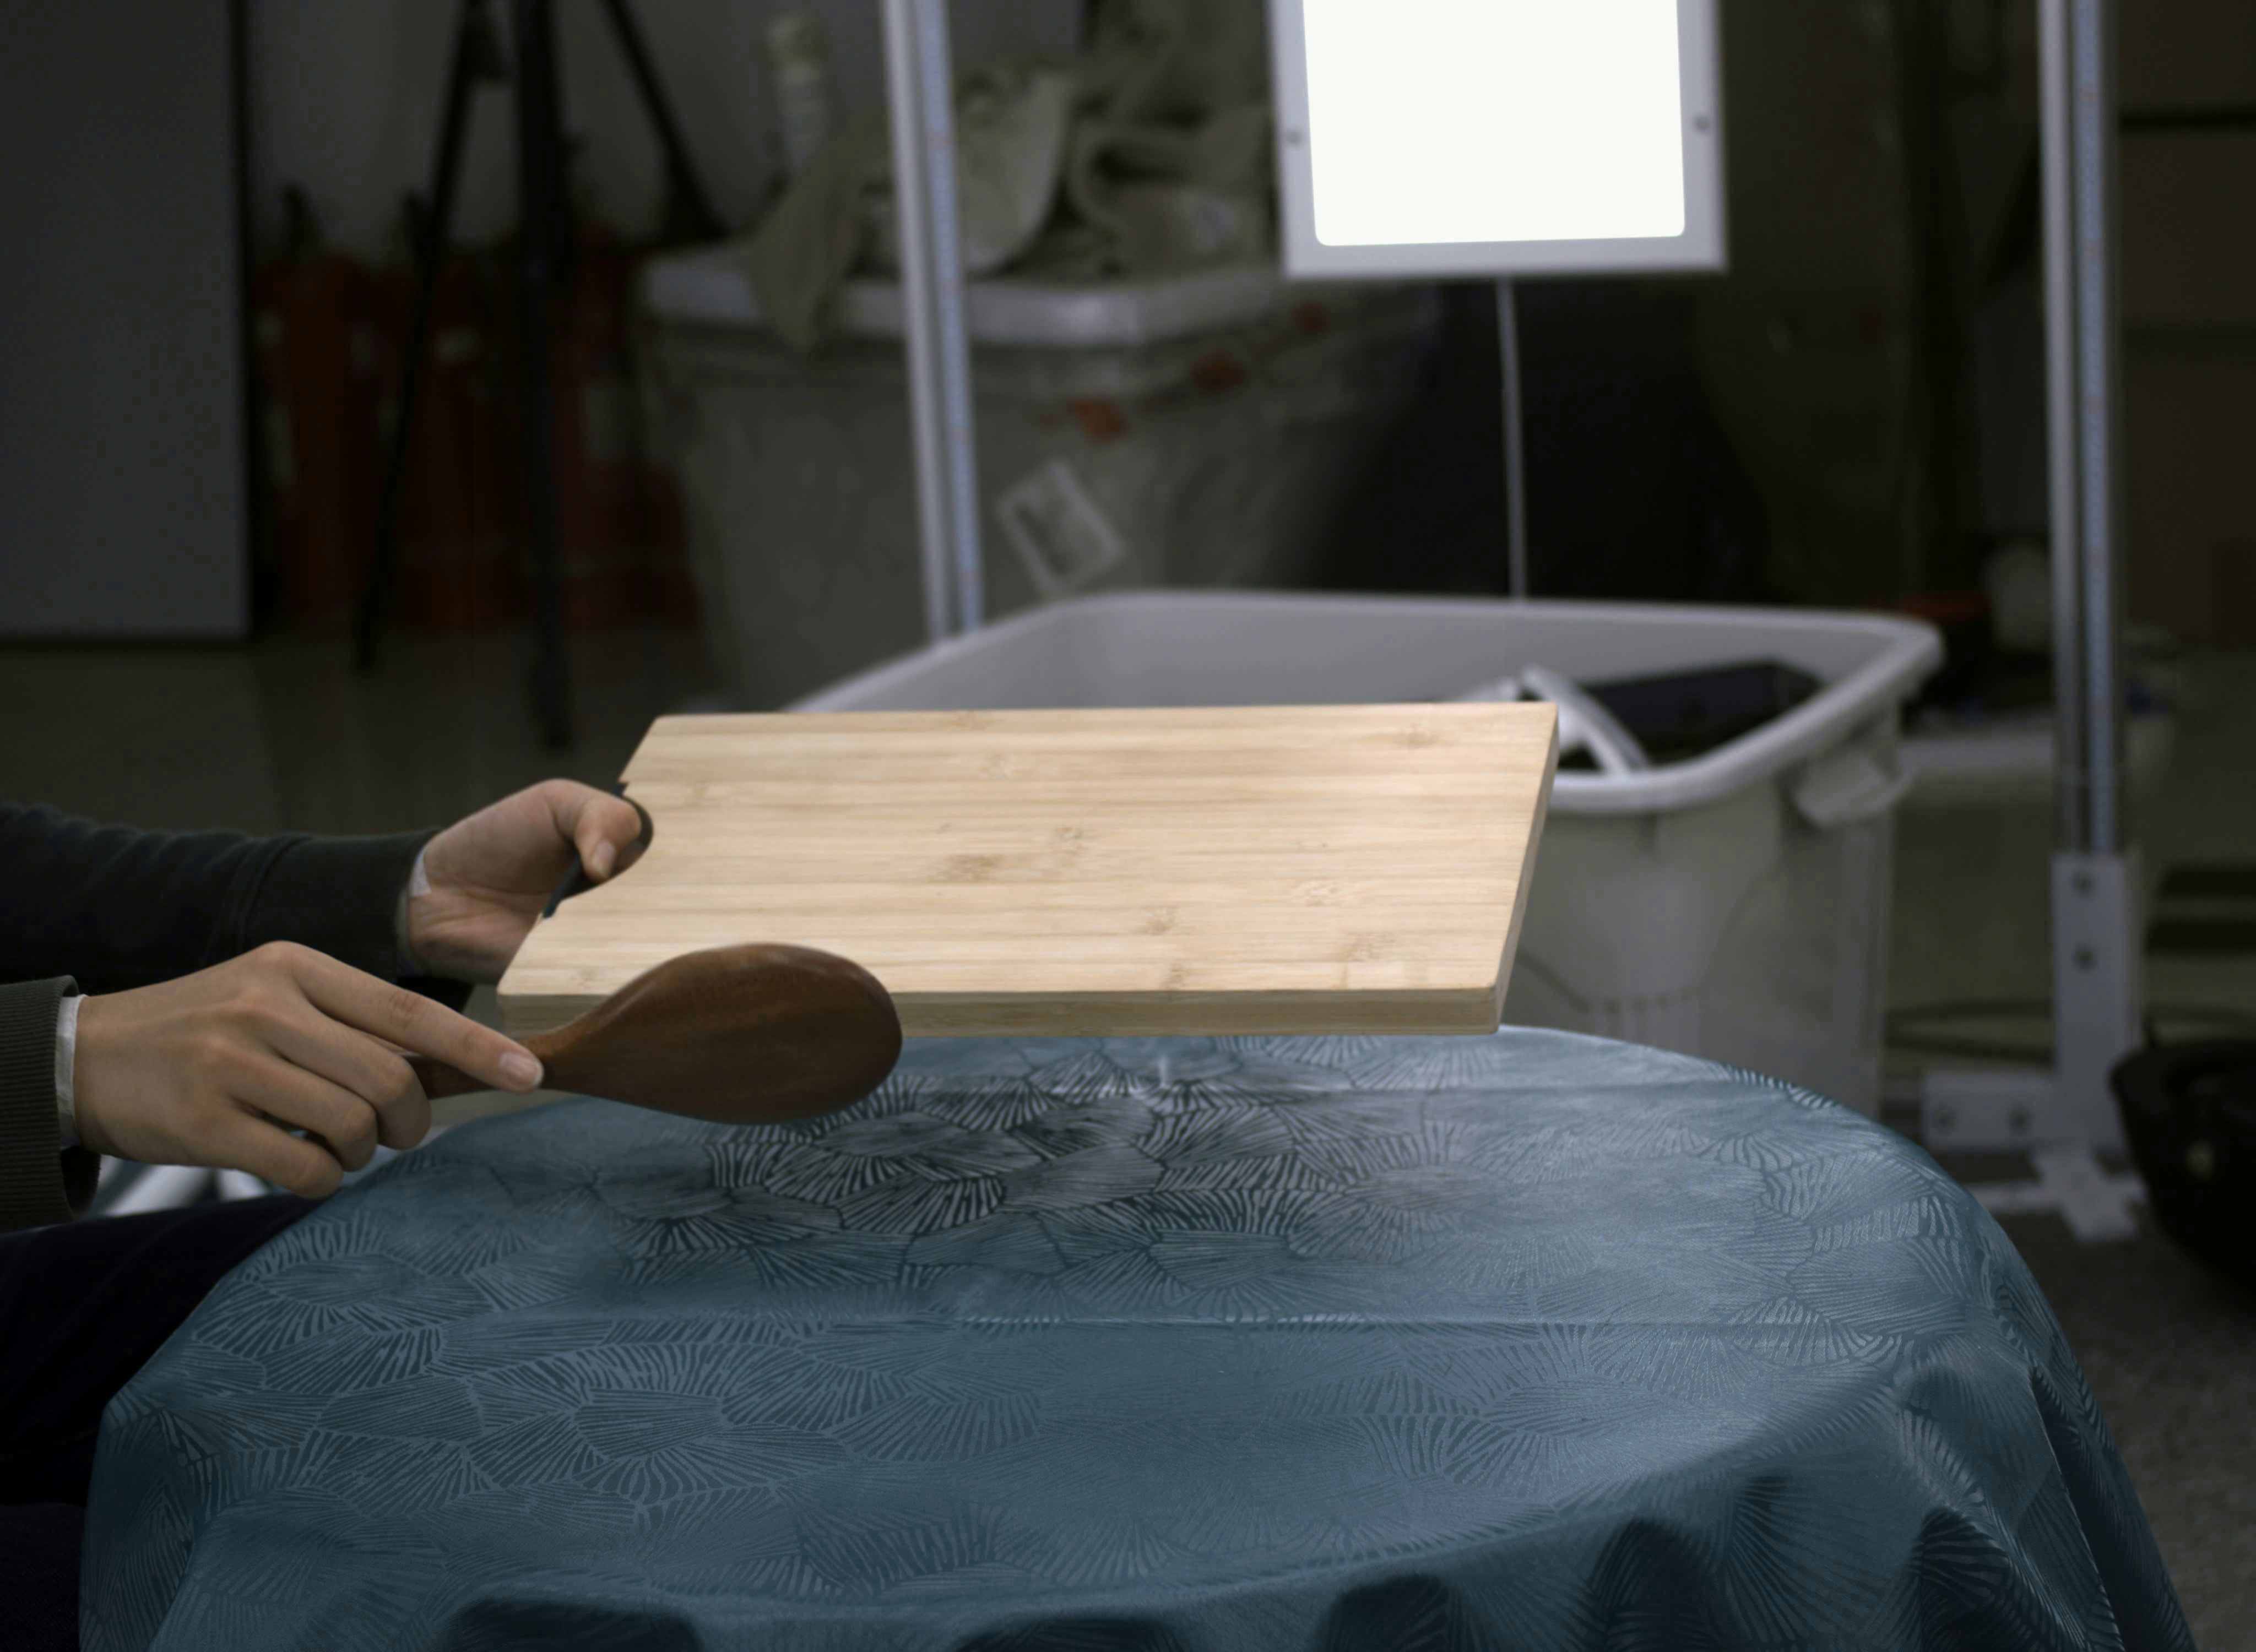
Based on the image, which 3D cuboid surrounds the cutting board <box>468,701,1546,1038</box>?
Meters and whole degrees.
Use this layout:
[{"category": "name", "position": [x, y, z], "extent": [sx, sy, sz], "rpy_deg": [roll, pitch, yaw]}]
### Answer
[{"category": "cutting board", "position": [-0.035, 0.014, 1.931], "extent": [0.351, 0.023, 0.248], "rpy_deg": [-1, 23, 11]}]

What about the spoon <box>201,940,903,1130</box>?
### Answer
[{"category": "spoon", "position": [-0.173, 0.070, 1.649], "extent": [0.217, 0.075, 0.017], "rpy_deg": [-6, 46, 12]}]
